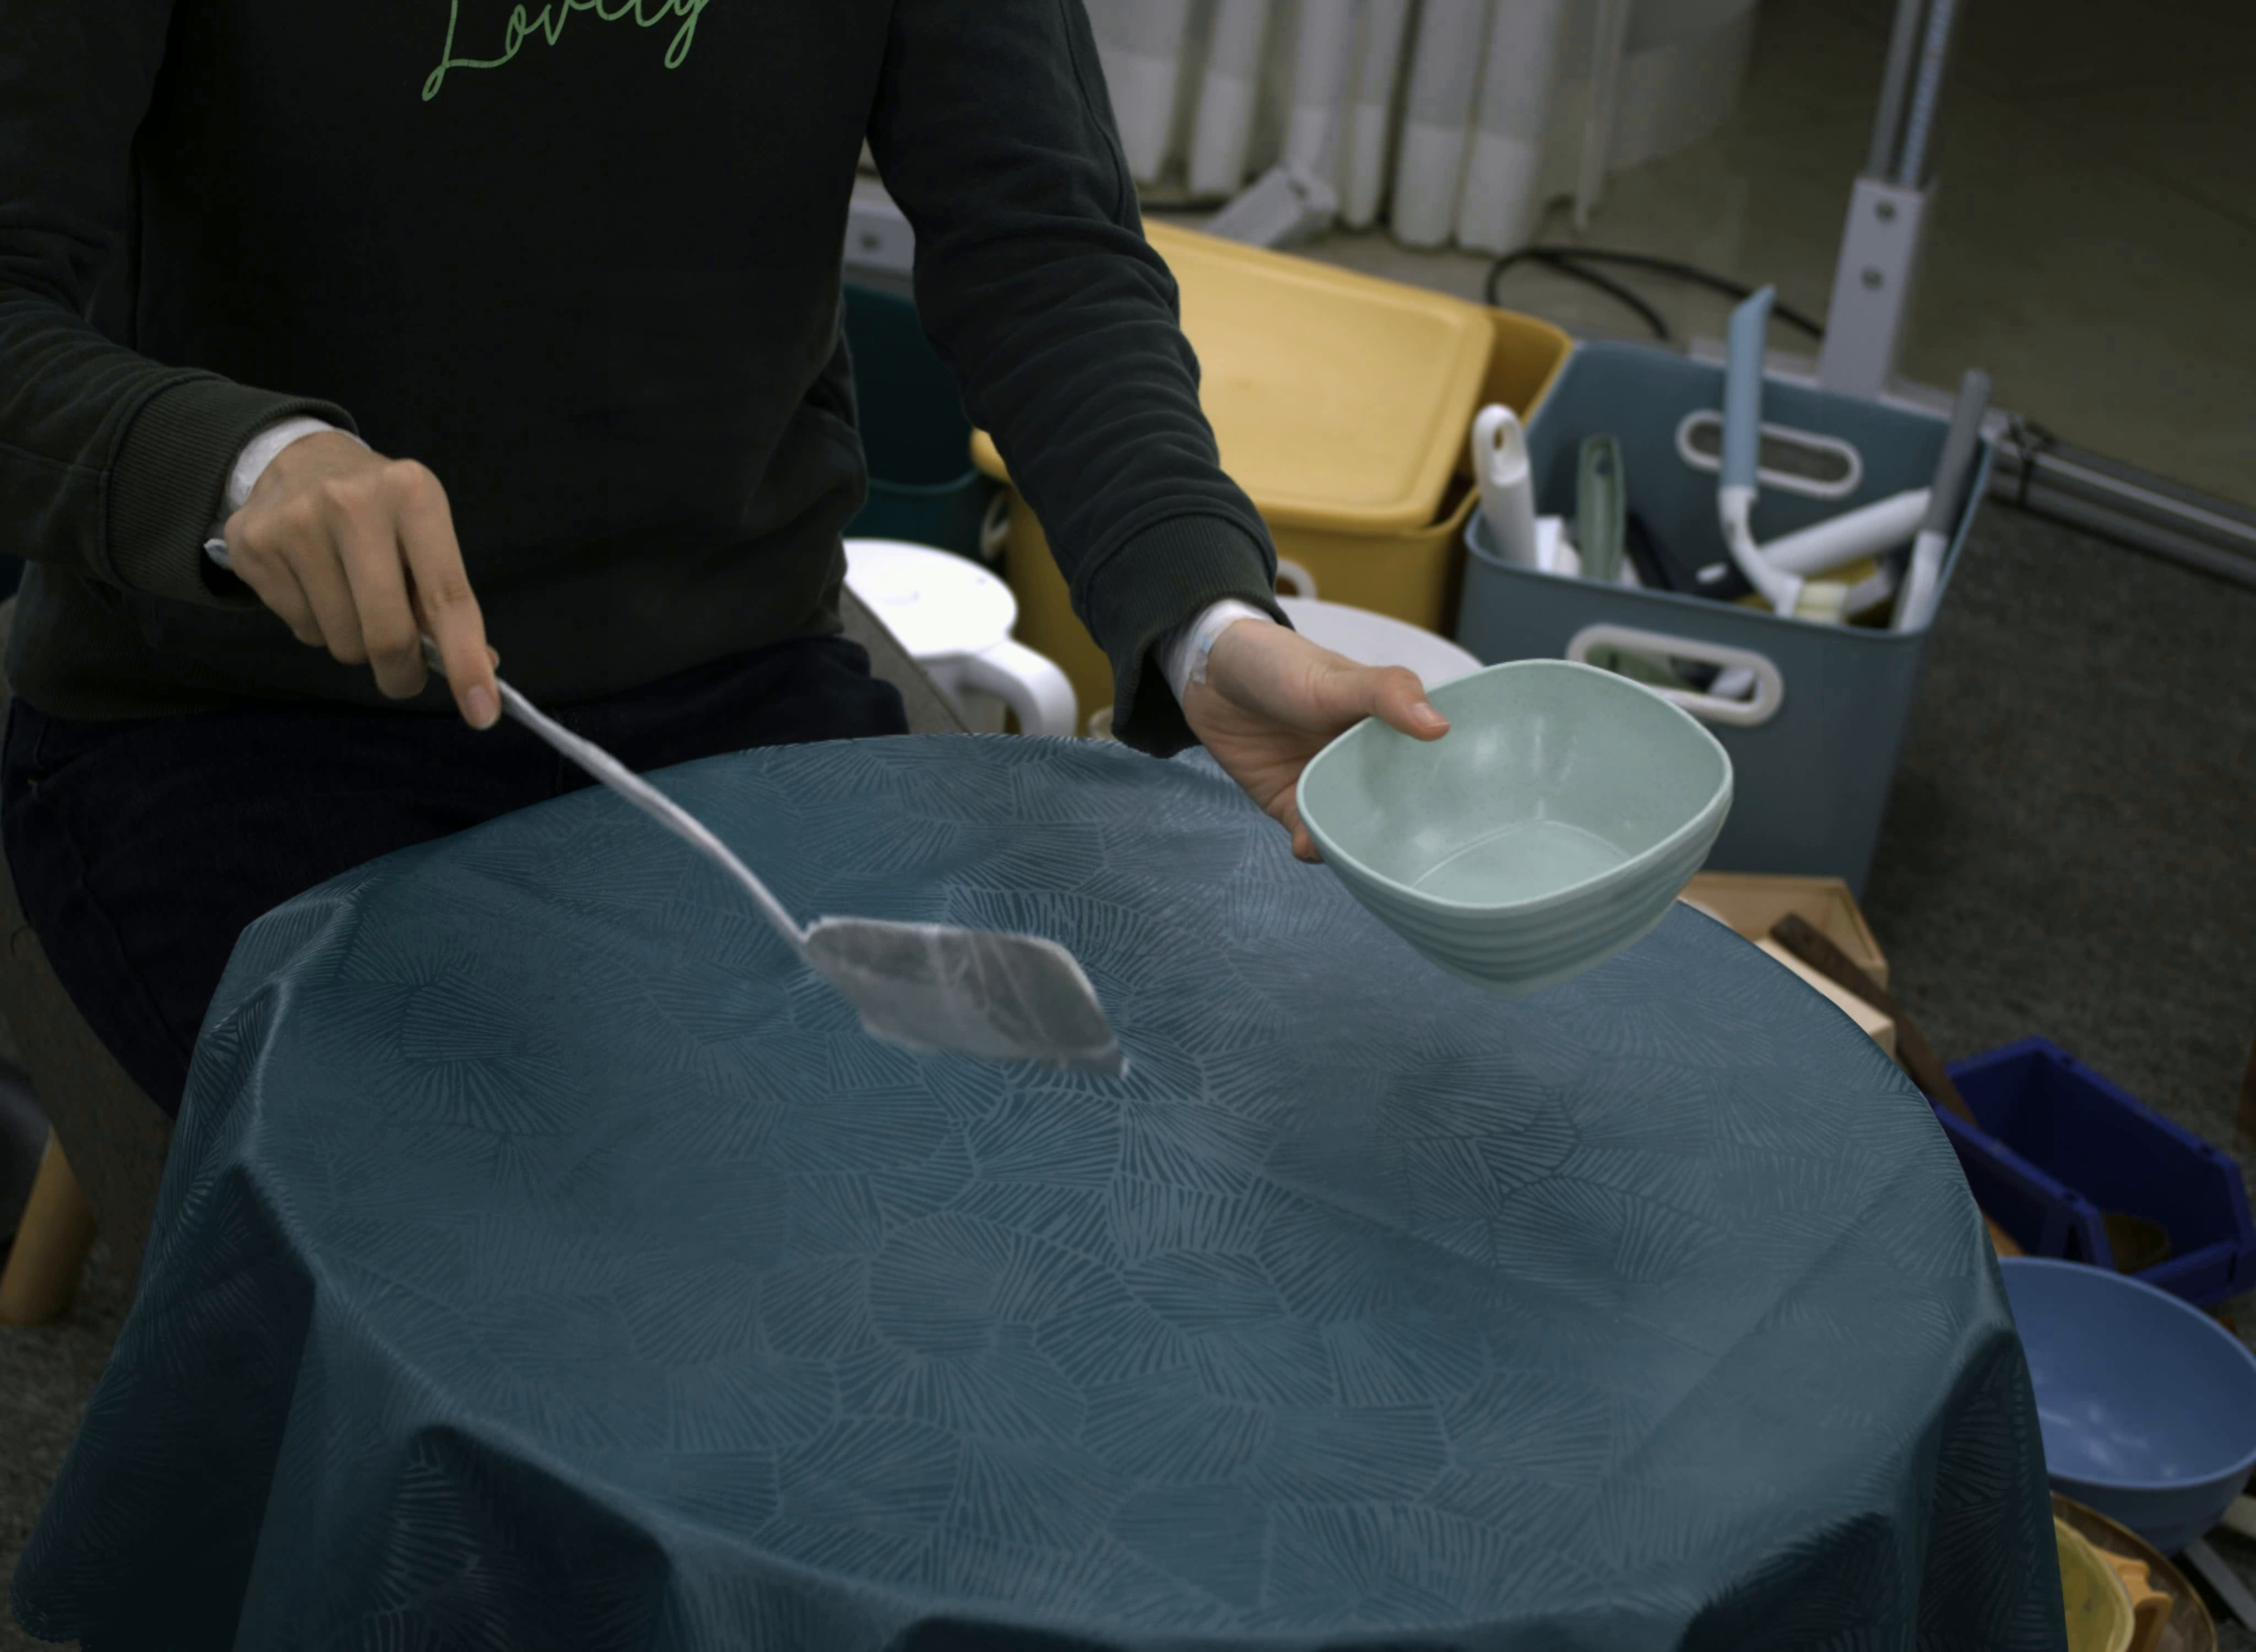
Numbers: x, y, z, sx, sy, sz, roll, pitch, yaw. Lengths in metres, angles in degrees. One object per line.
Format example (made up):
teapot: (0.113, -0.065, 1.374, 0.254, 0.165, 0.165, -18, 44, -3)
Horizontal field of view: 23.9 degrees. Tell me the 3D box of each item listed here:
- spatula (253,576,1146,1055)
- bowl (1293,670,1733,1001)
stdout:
spatula: (-0.148, -0.014, 1.695, 0.367, 0.098, 0.045, 32, 76, 29)
bowl: (0.134, 0.010, 1.834, 0.151, 0.058, 0.152, -5, 32, 3)
